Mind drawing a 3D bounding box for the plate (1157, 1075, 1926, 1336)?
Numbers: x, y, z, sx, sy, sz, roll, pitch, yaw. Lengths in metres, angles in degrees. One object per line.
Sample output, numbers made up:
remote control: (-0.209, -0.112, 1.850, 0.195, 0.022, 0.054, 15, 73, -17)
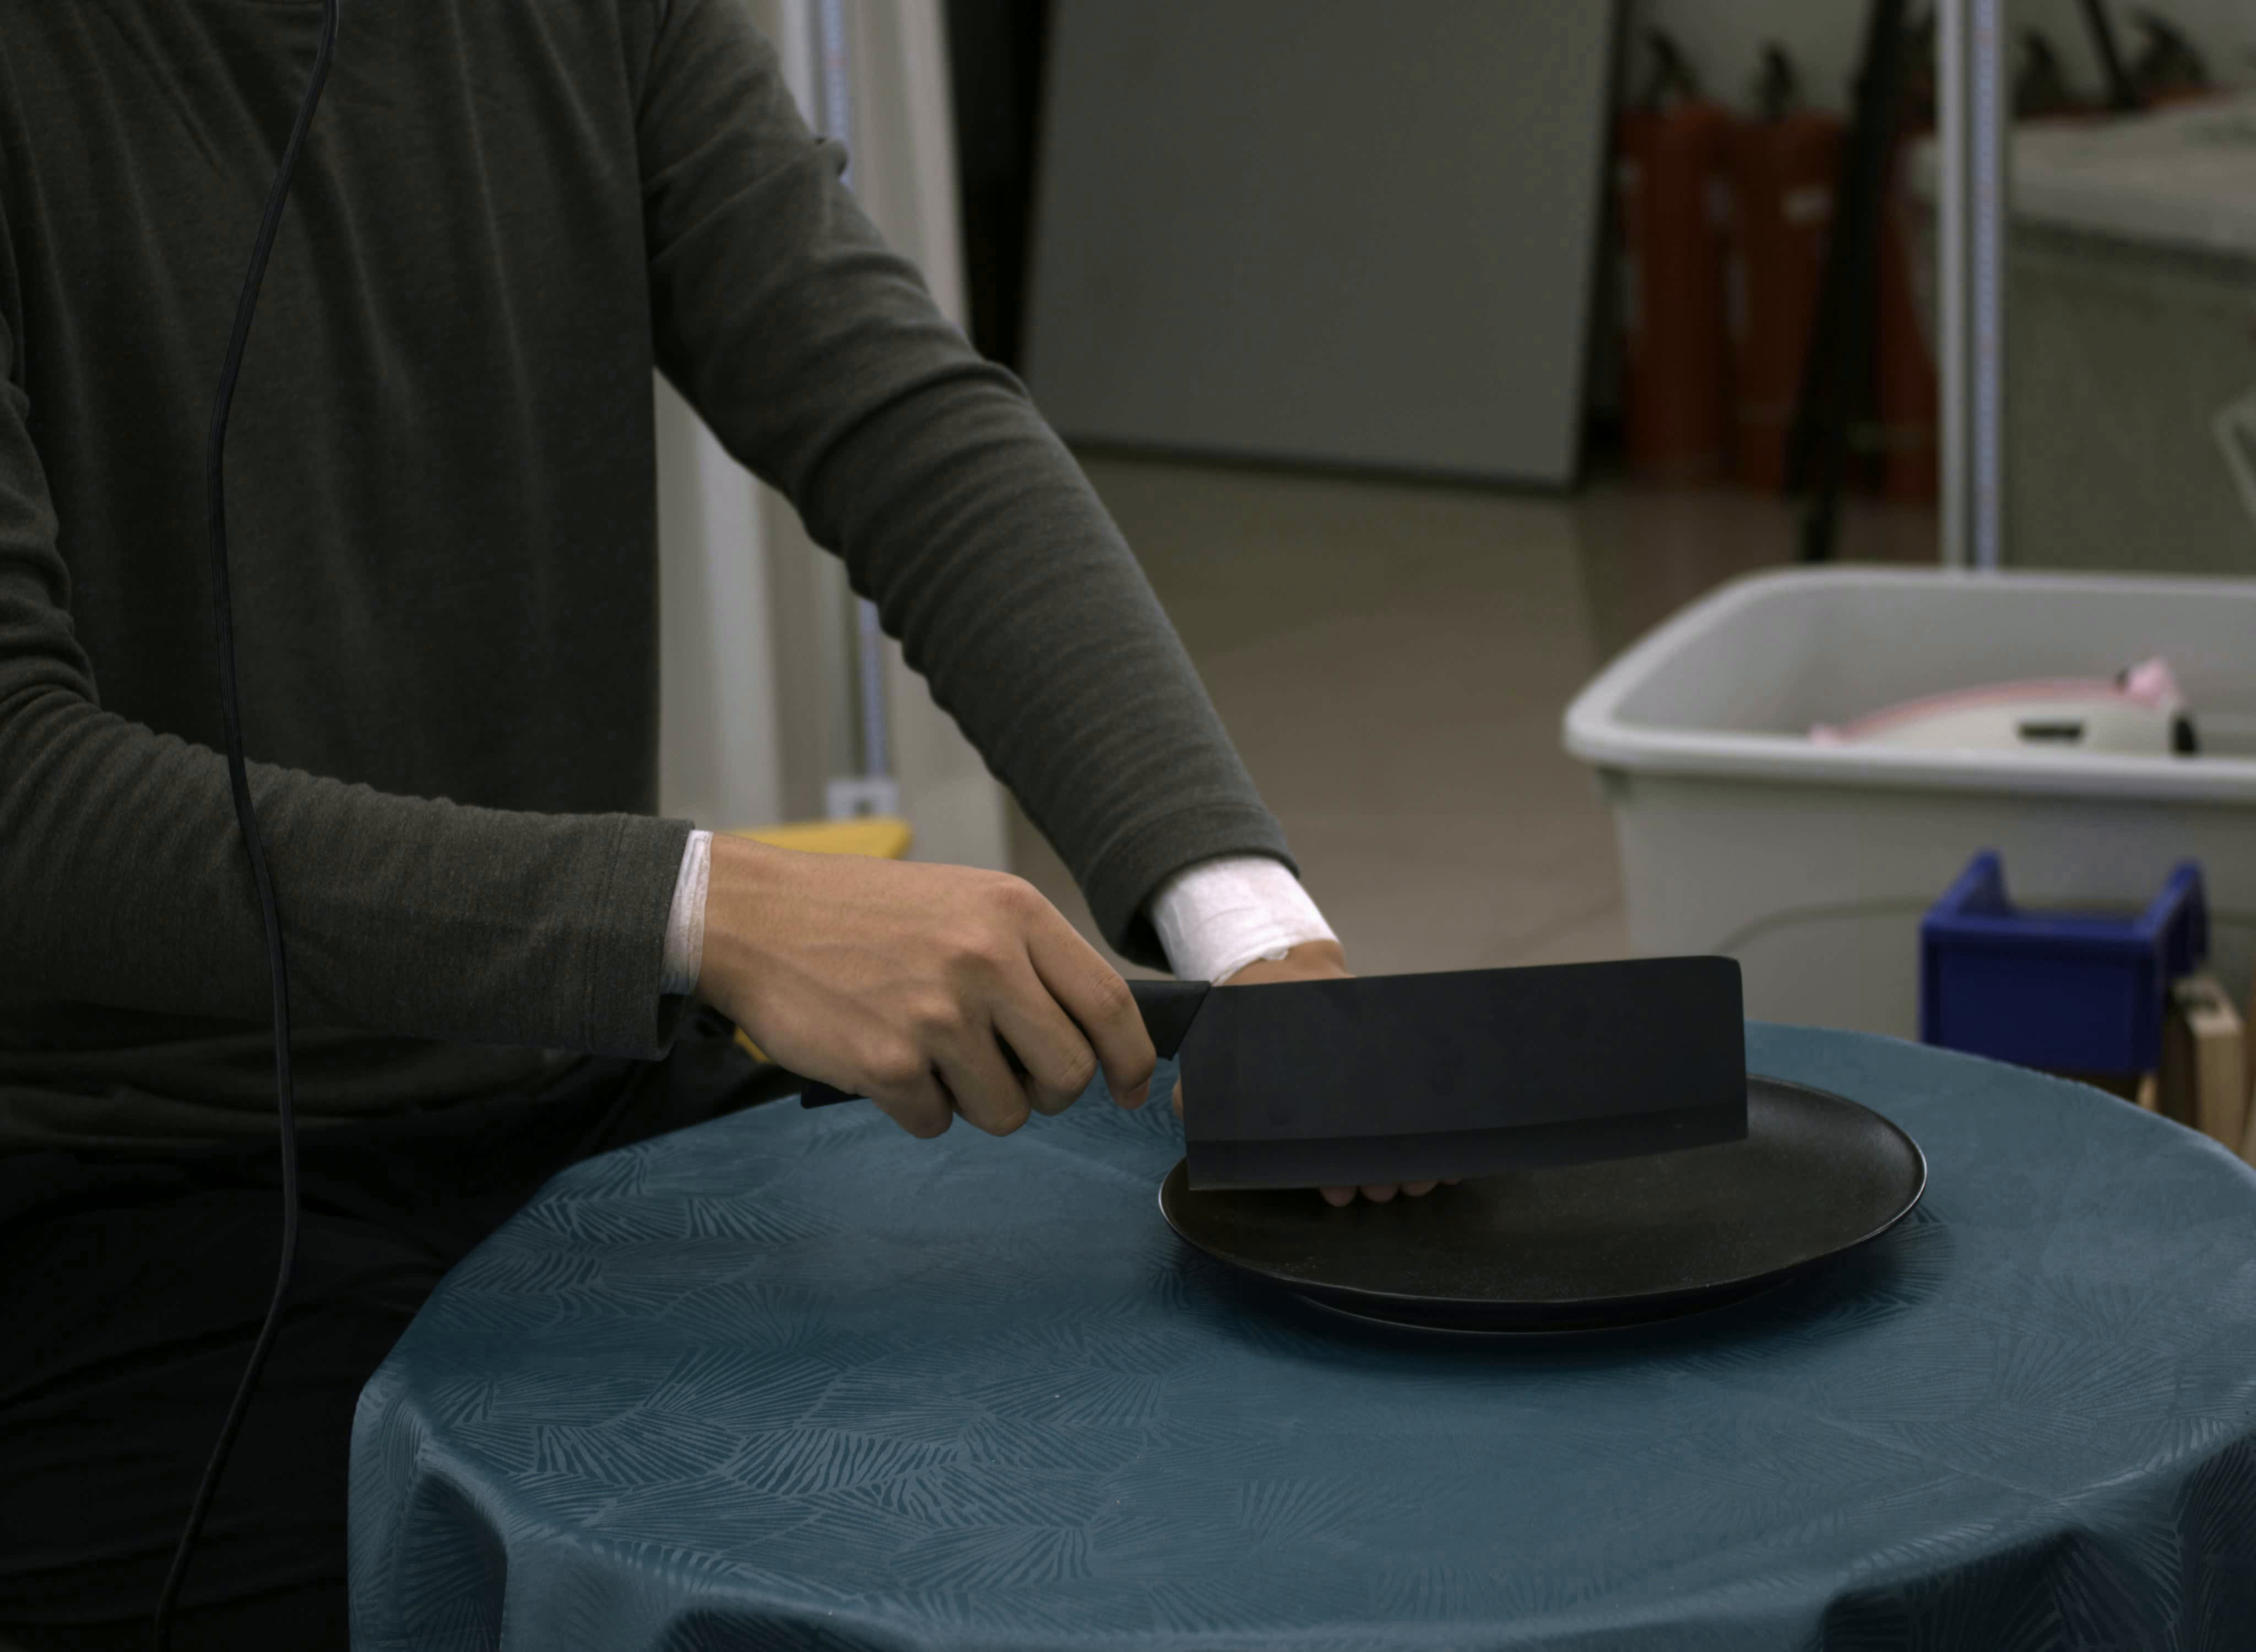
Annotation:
plate: (0.130, 0.120, 1.693, 0.241, 0.024, 0.245, -4, 14, 0)

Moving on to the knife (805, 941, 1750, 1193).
knife: (0.048, 0.076, 1.697, 0.298, 0.082, 0.021, 0, 2, 1)
